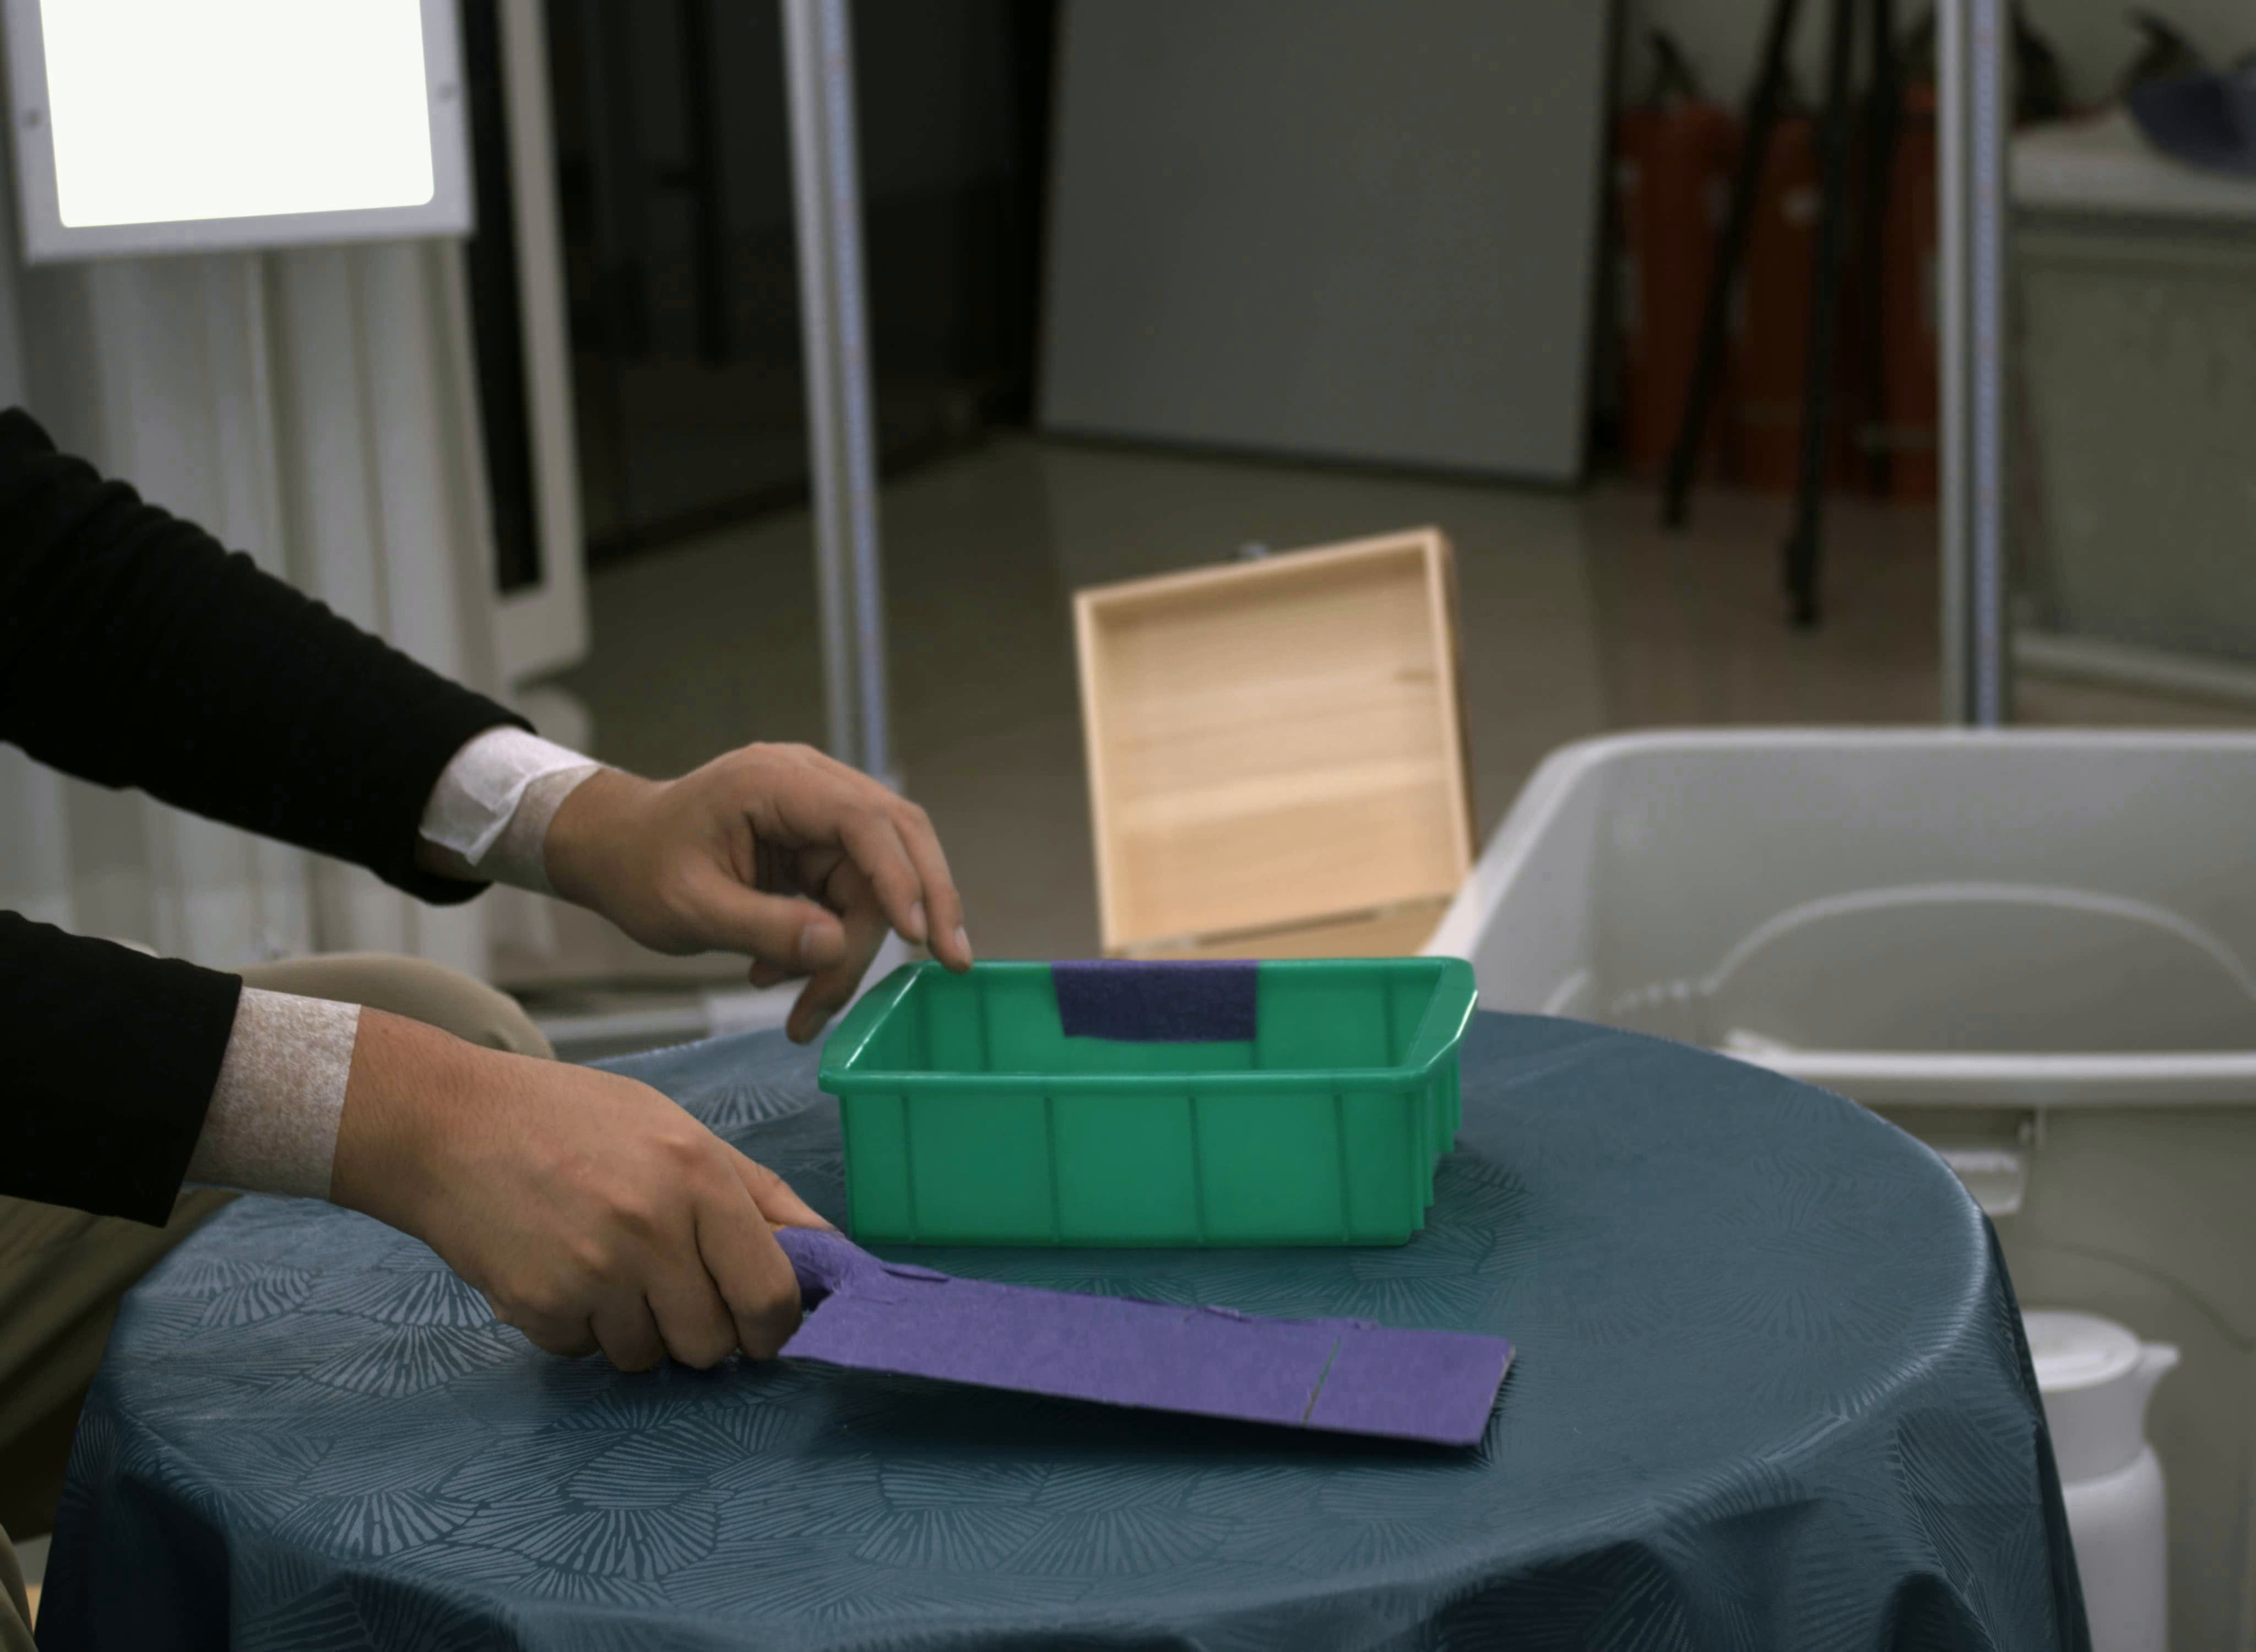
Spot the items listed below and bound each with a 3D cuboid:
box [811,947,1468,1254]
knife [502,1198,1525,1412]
[{"bbox_3d":[0.008,0.090,1.762,0.209,0.066,0.138,-3,12,12],"label":"box"},{"bbox_3d":[-0.041,0.141,1.582,0.313,0.032,0.103,3,11,13],"label":"knife"}]
